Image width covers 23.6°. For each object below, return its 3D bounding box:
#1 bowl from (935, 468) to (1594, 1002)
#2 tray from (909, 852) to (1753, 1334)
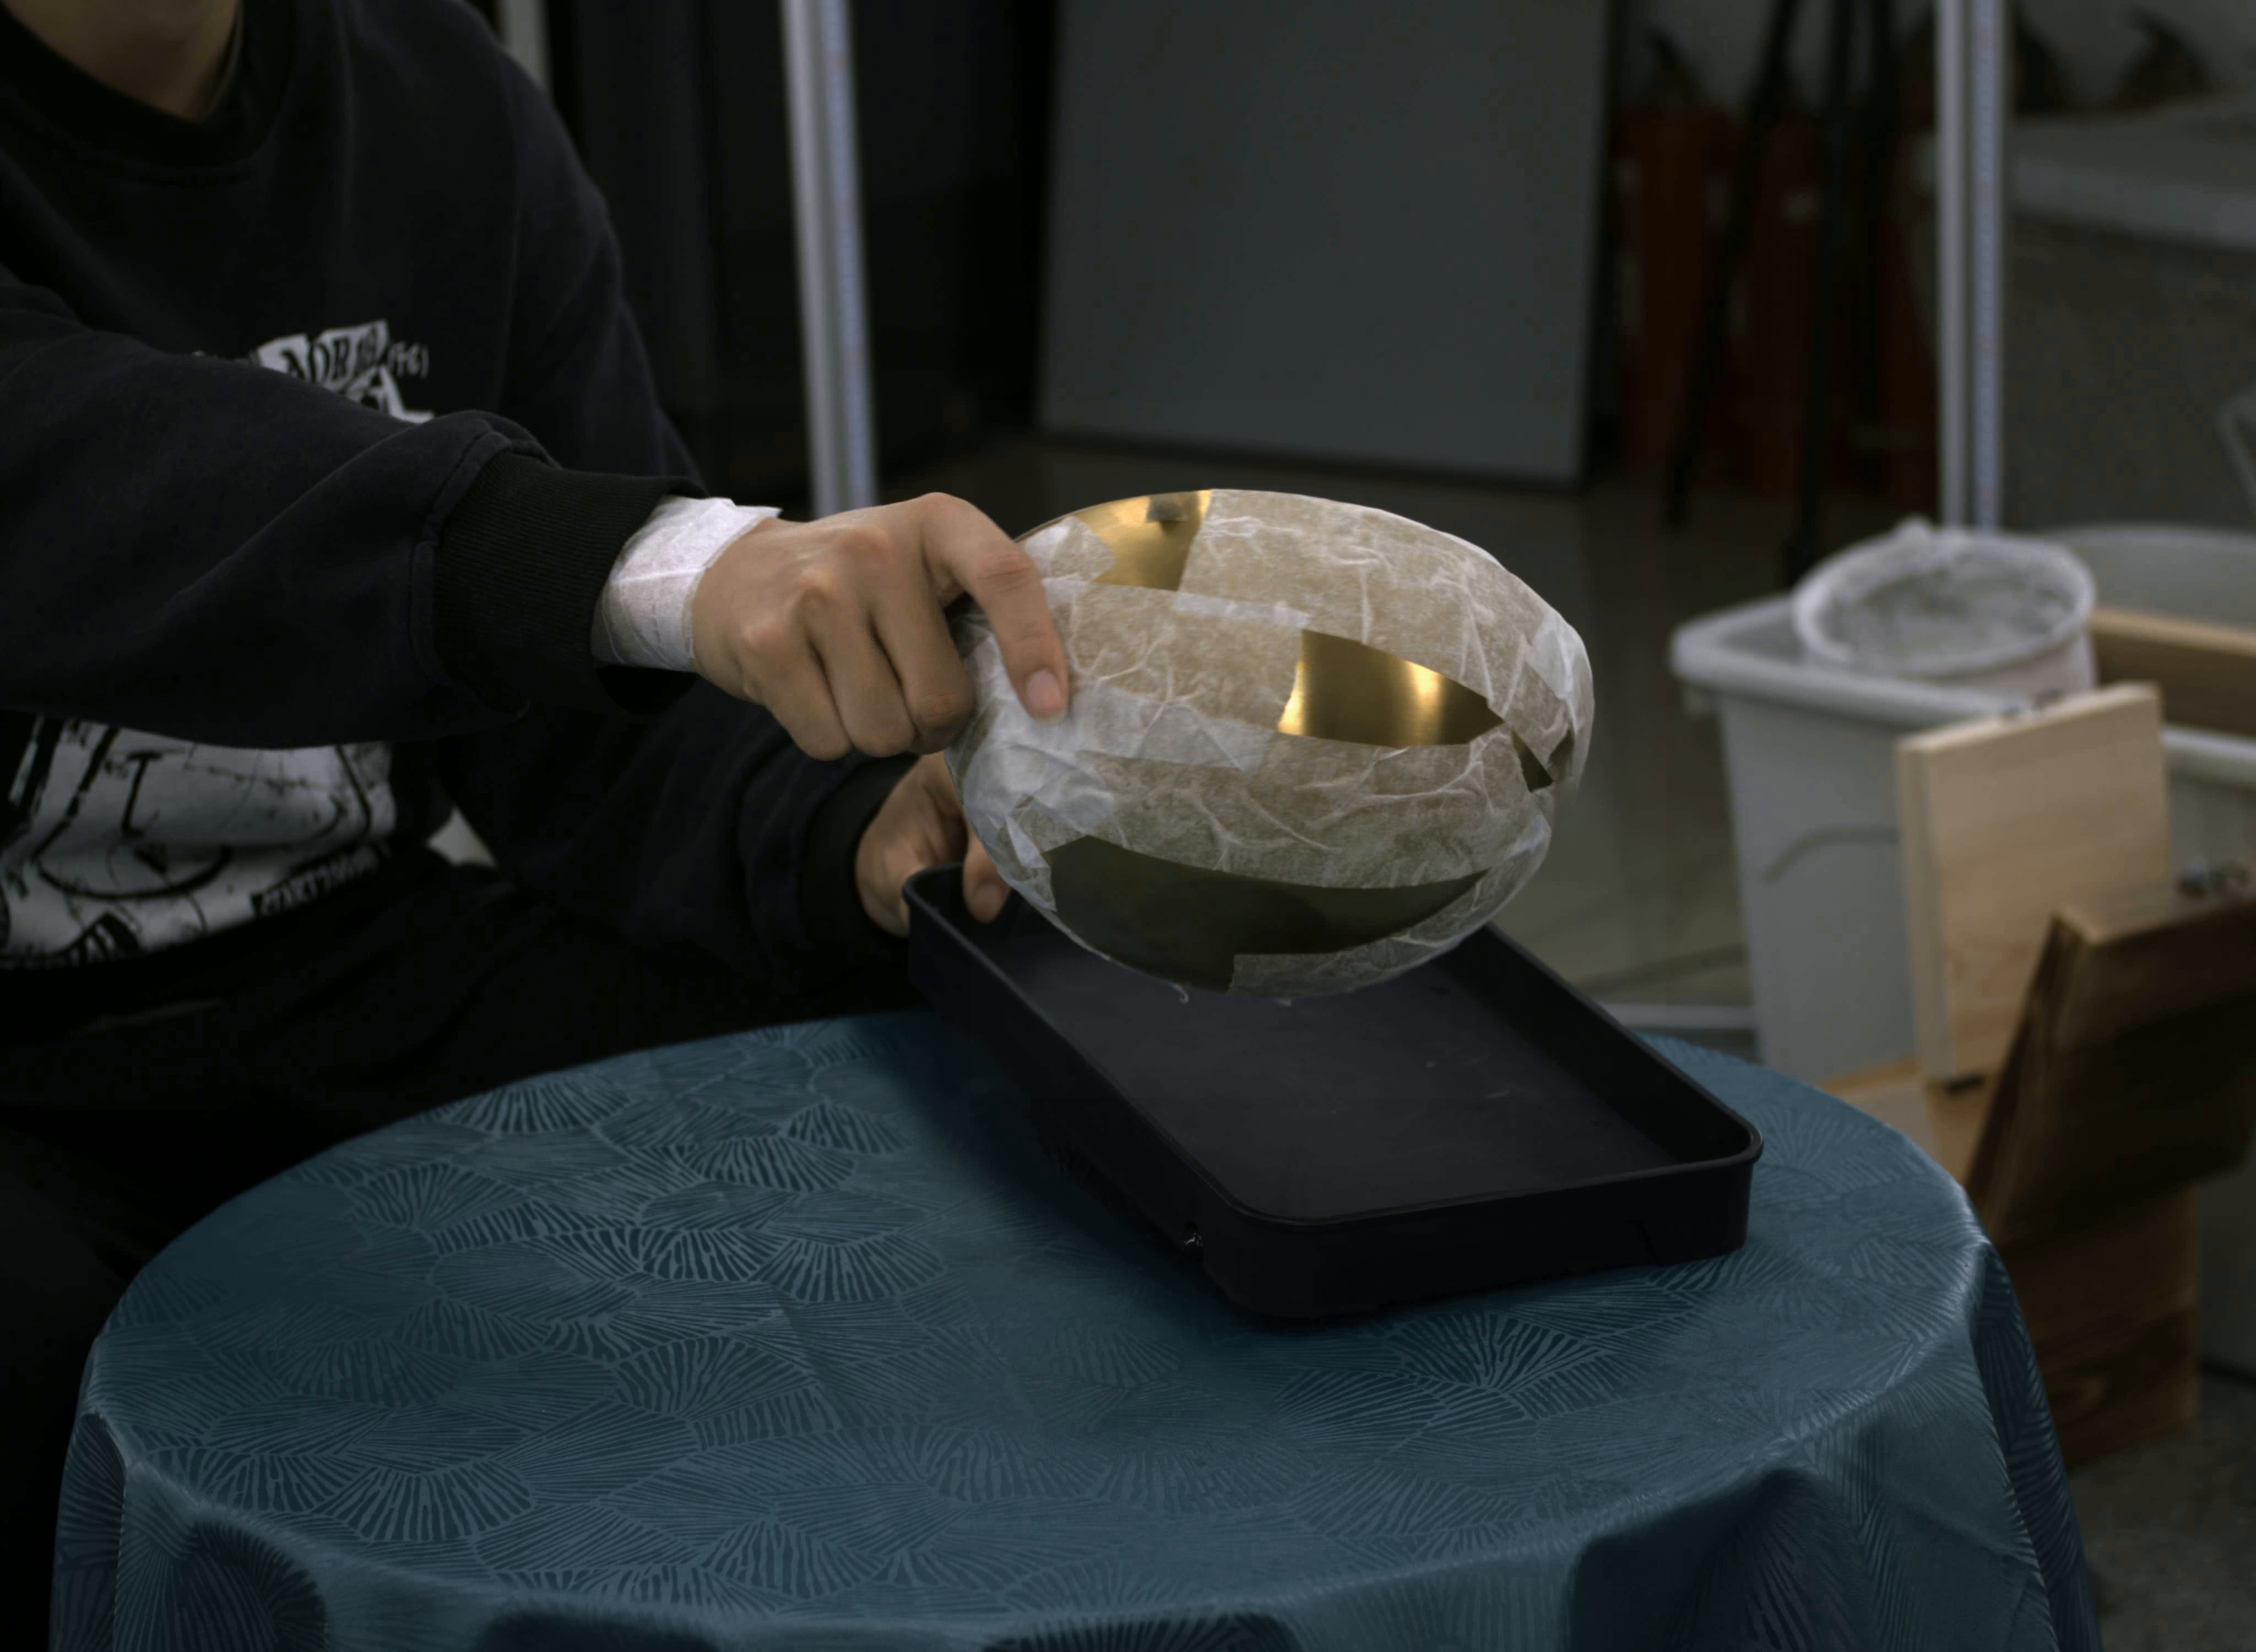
[{"bbox_3d":[0.036,-0.007,1.609,0.213,0.214,0.095,0,56,12],"label":"bowl"},{"bbox_3d":[0.059,0.076,1.773,0.180,0.037,0.321,-6,23,-20],"label":"tray"}]
